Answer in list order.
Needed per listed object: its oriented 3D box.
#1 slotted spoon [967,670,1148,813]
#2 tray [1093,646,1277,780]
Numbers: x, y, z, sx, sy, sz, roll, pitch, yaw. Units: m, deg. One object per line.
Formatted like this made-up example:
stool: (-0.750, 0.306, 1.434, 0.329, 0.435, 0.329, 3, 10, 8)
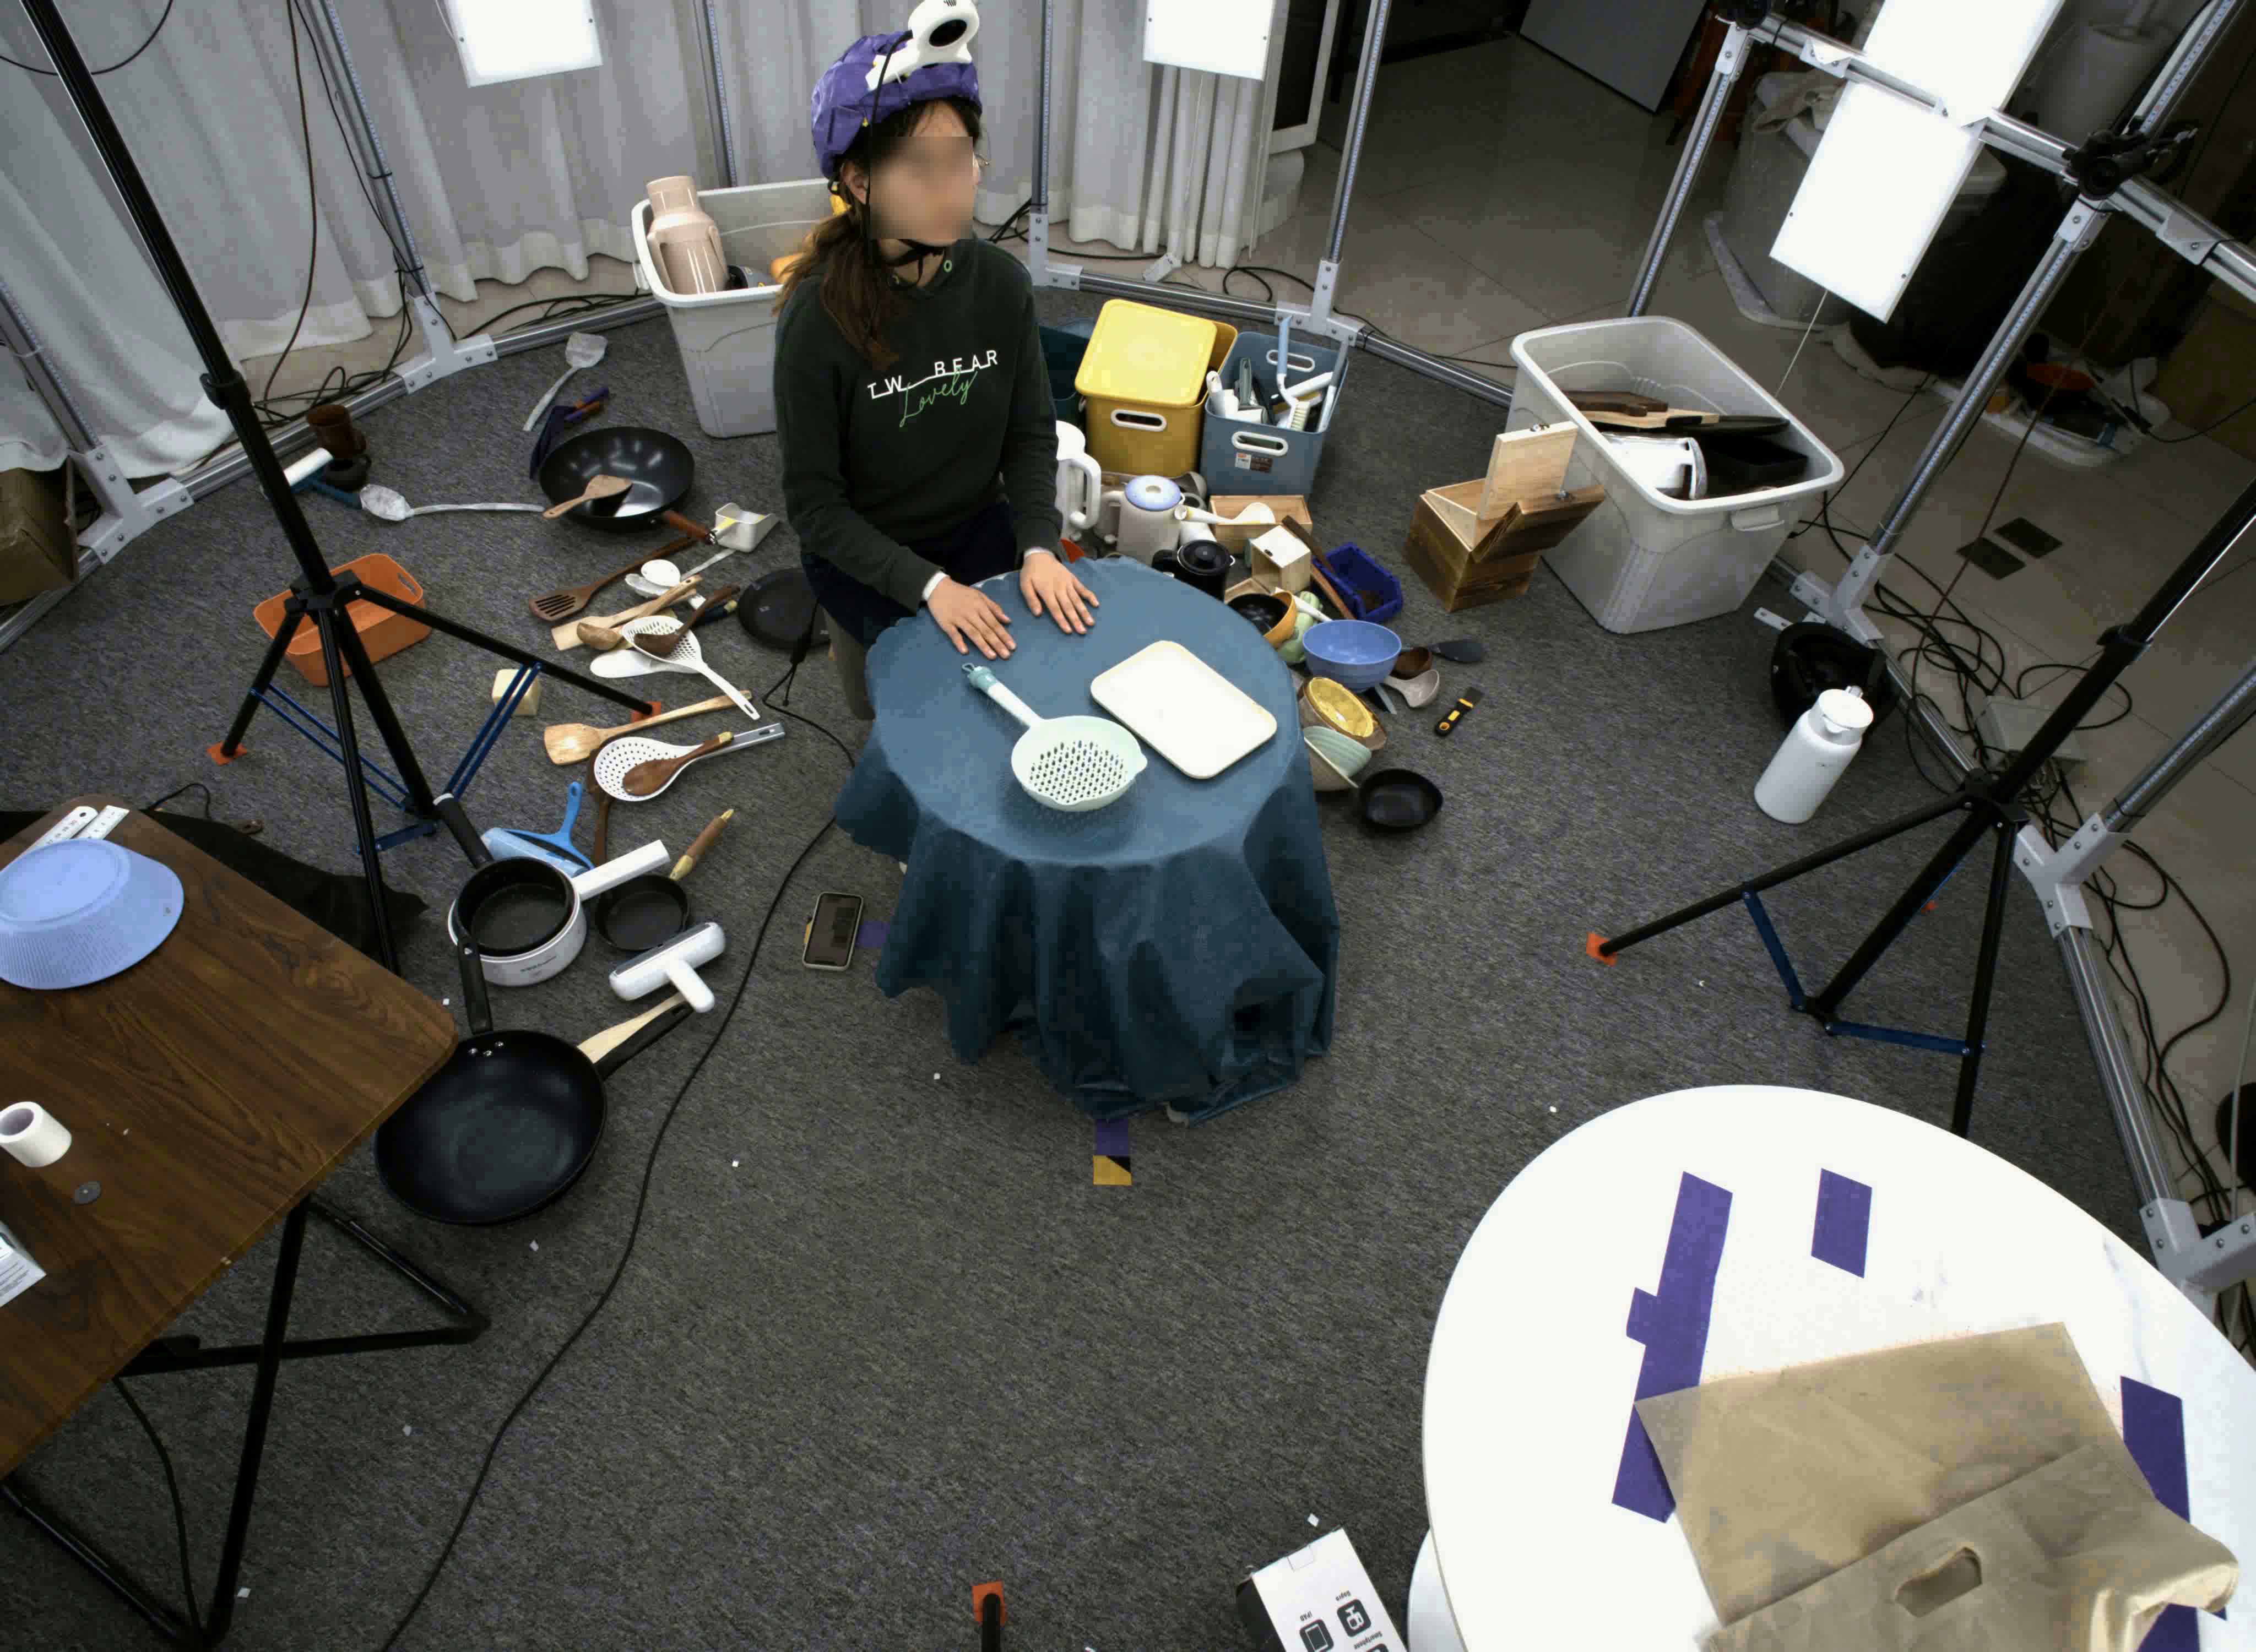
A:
slotted spoon: (-0.124, -0.133, 1.752, 0.170, 0.073, 0.366, -26, 54, -25)
tray: (0.079, -0.162, 1.820, 0.172, 0.017, 0.243, -33, 58, -29)
